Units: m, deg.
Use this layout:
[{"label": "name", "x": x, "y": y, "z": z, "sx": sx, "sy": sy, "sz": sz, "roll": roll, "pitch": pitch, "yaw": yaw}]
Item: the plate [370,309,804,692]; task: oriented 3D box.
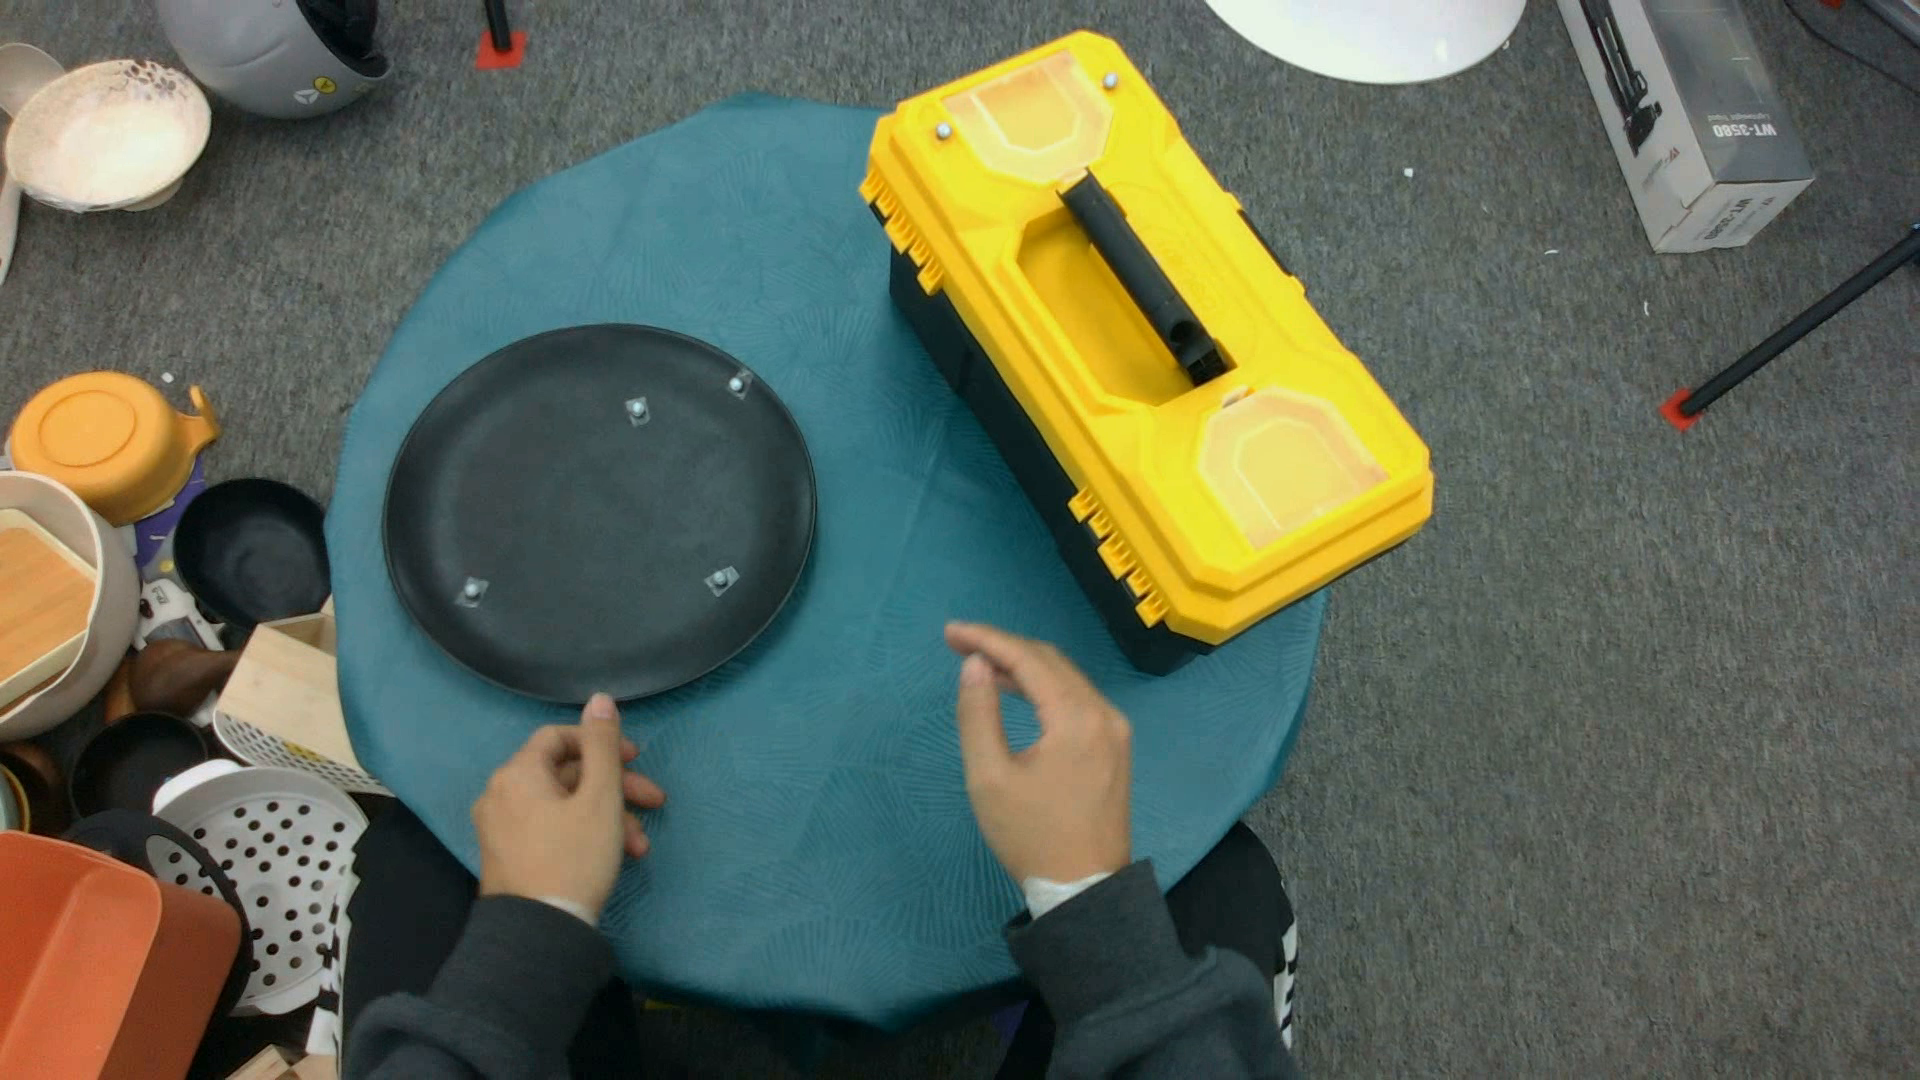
[{"label": "plate", "x": -0.214, "y": -0.026, "z": 0.803, "sx": 0.244, "sy": 0.023, "sz": 0.245, "roll": 3, "pitch": 66, "yaw": -6}]

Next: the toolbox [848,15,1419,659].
[{"label": "toolbox", "x": 0.086, "y": -0.113, "z": 0.796, "sx": 0.182, "sy": 0.172, "sz": 0.352, "roll": -27, "pitch": 72, "yaw": -17}]
